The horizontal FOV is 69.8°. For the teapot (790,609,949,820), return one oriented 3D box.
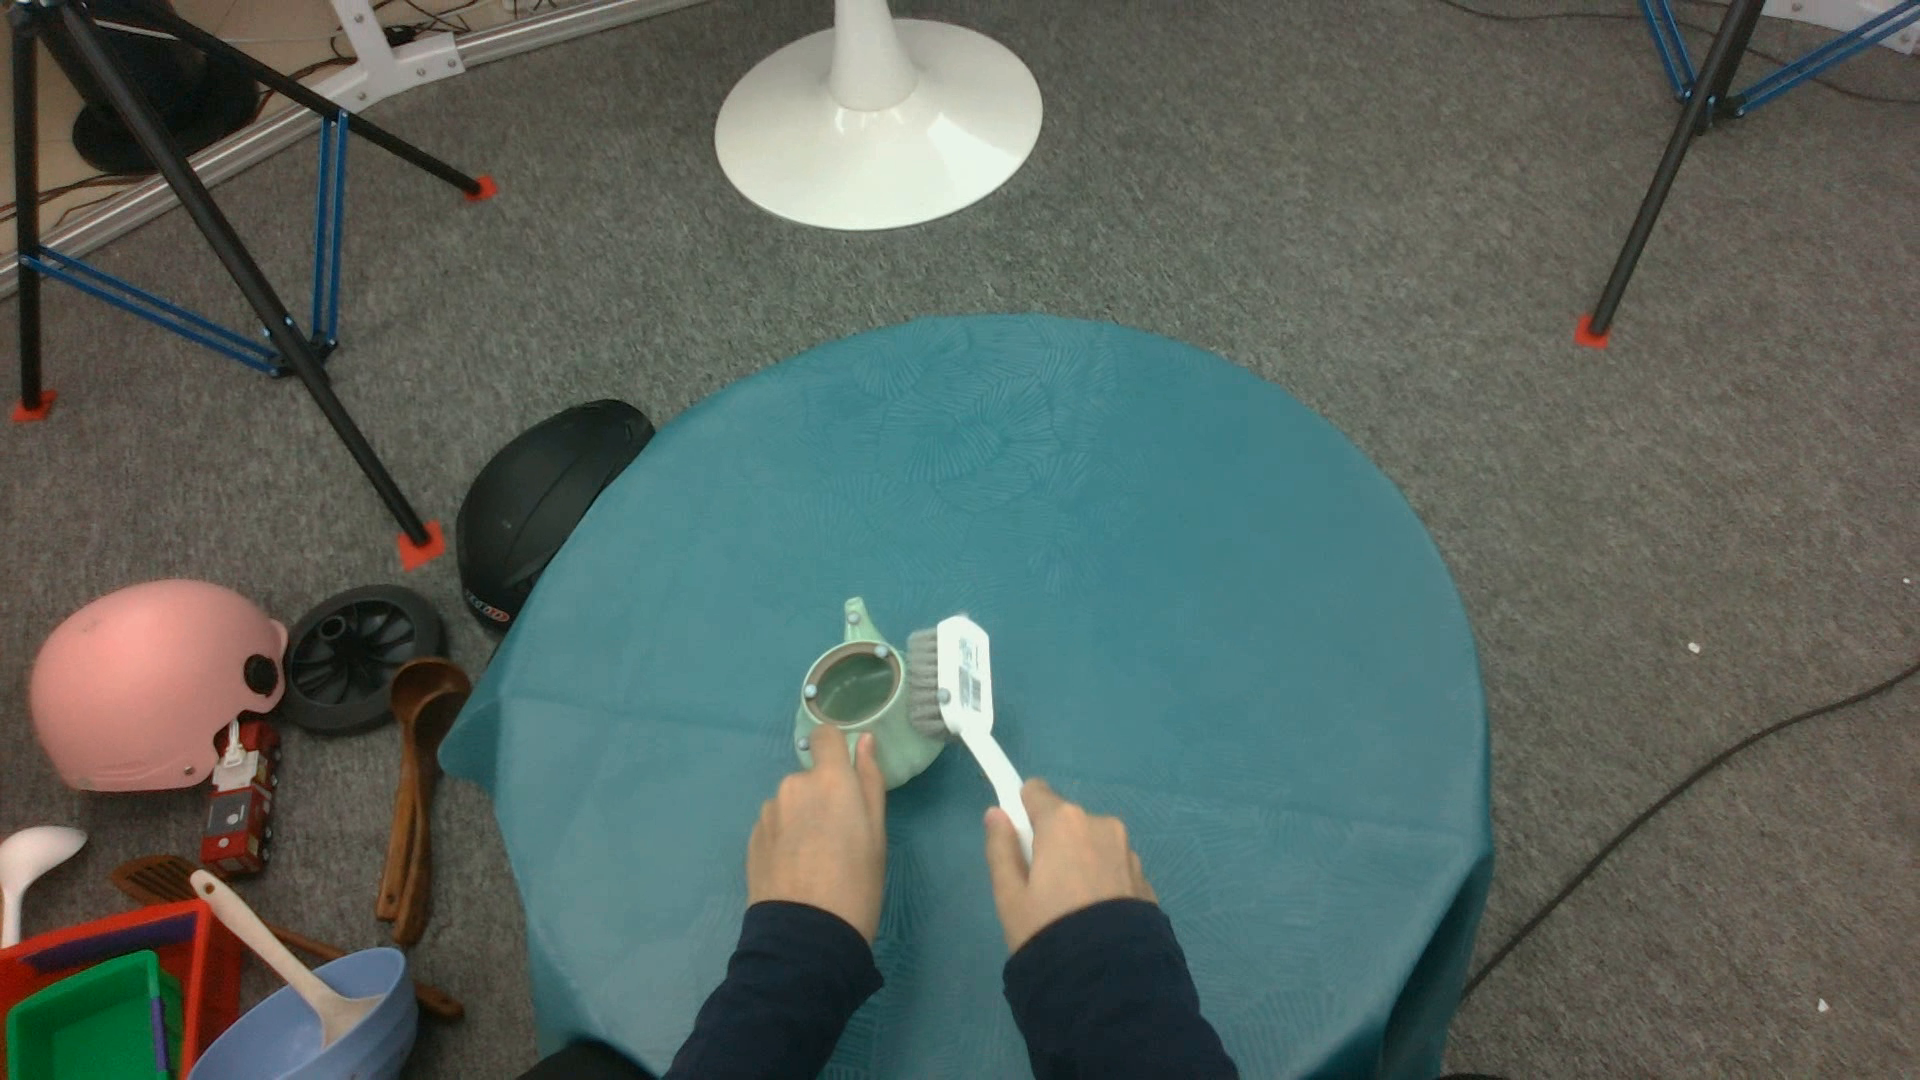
[{"bbox_3d":[-0.056,0.108,0.804,0.096,0.061,0.137,-11,44,6],"label":"teapot"}]

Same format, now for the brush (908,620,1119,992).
[{"bbox_3d":[0.020,0.138,0.729,0.050,0.034,0.244,-40,45,18],"label":"brush"}]
